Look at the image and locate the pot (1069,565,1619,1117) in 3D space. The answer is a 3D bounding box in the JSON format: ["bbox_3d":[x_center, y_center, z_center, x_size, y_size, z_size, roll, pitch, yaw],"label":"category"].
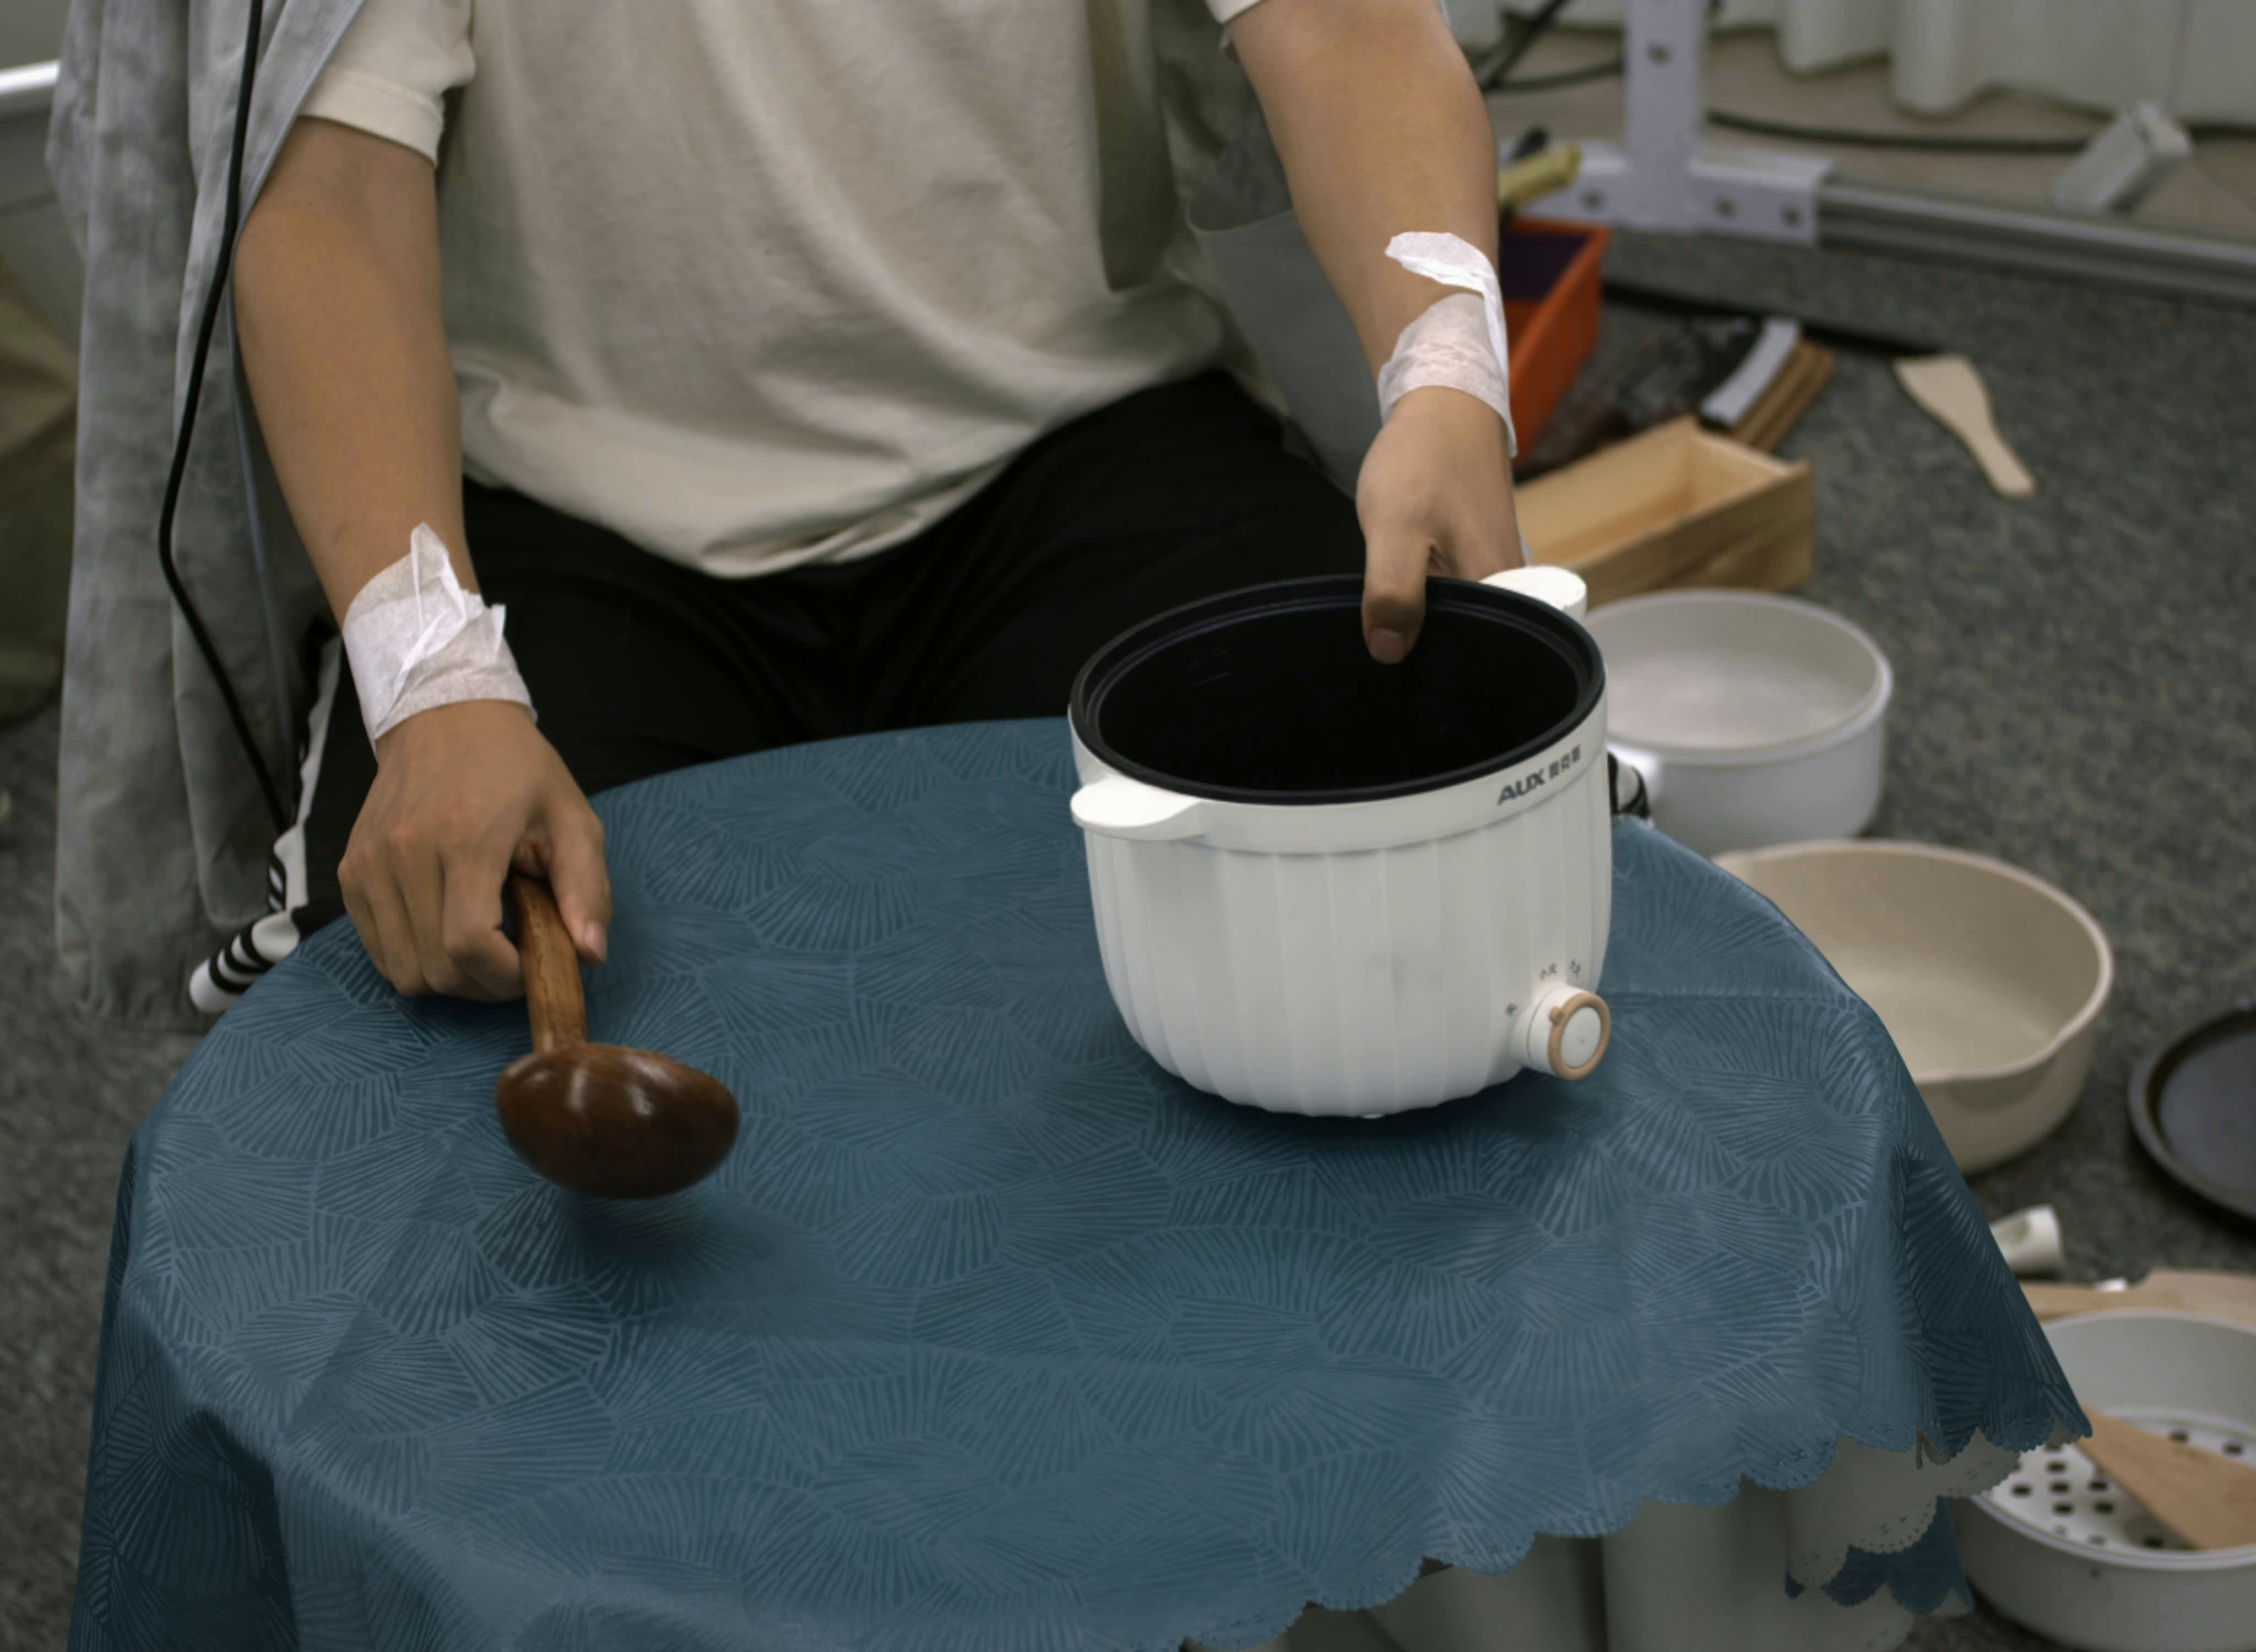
[{"bbox_3d":[0.081,0.011,1.911,0.189,0.141,0.243,13,31,42],"label":"pot"}]

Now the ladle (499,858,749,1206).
[{"bbox_3d":[-0.183,0.050,1.917,0.081,0.076,0.277,24,19,-20],"label":"ladle"}]
